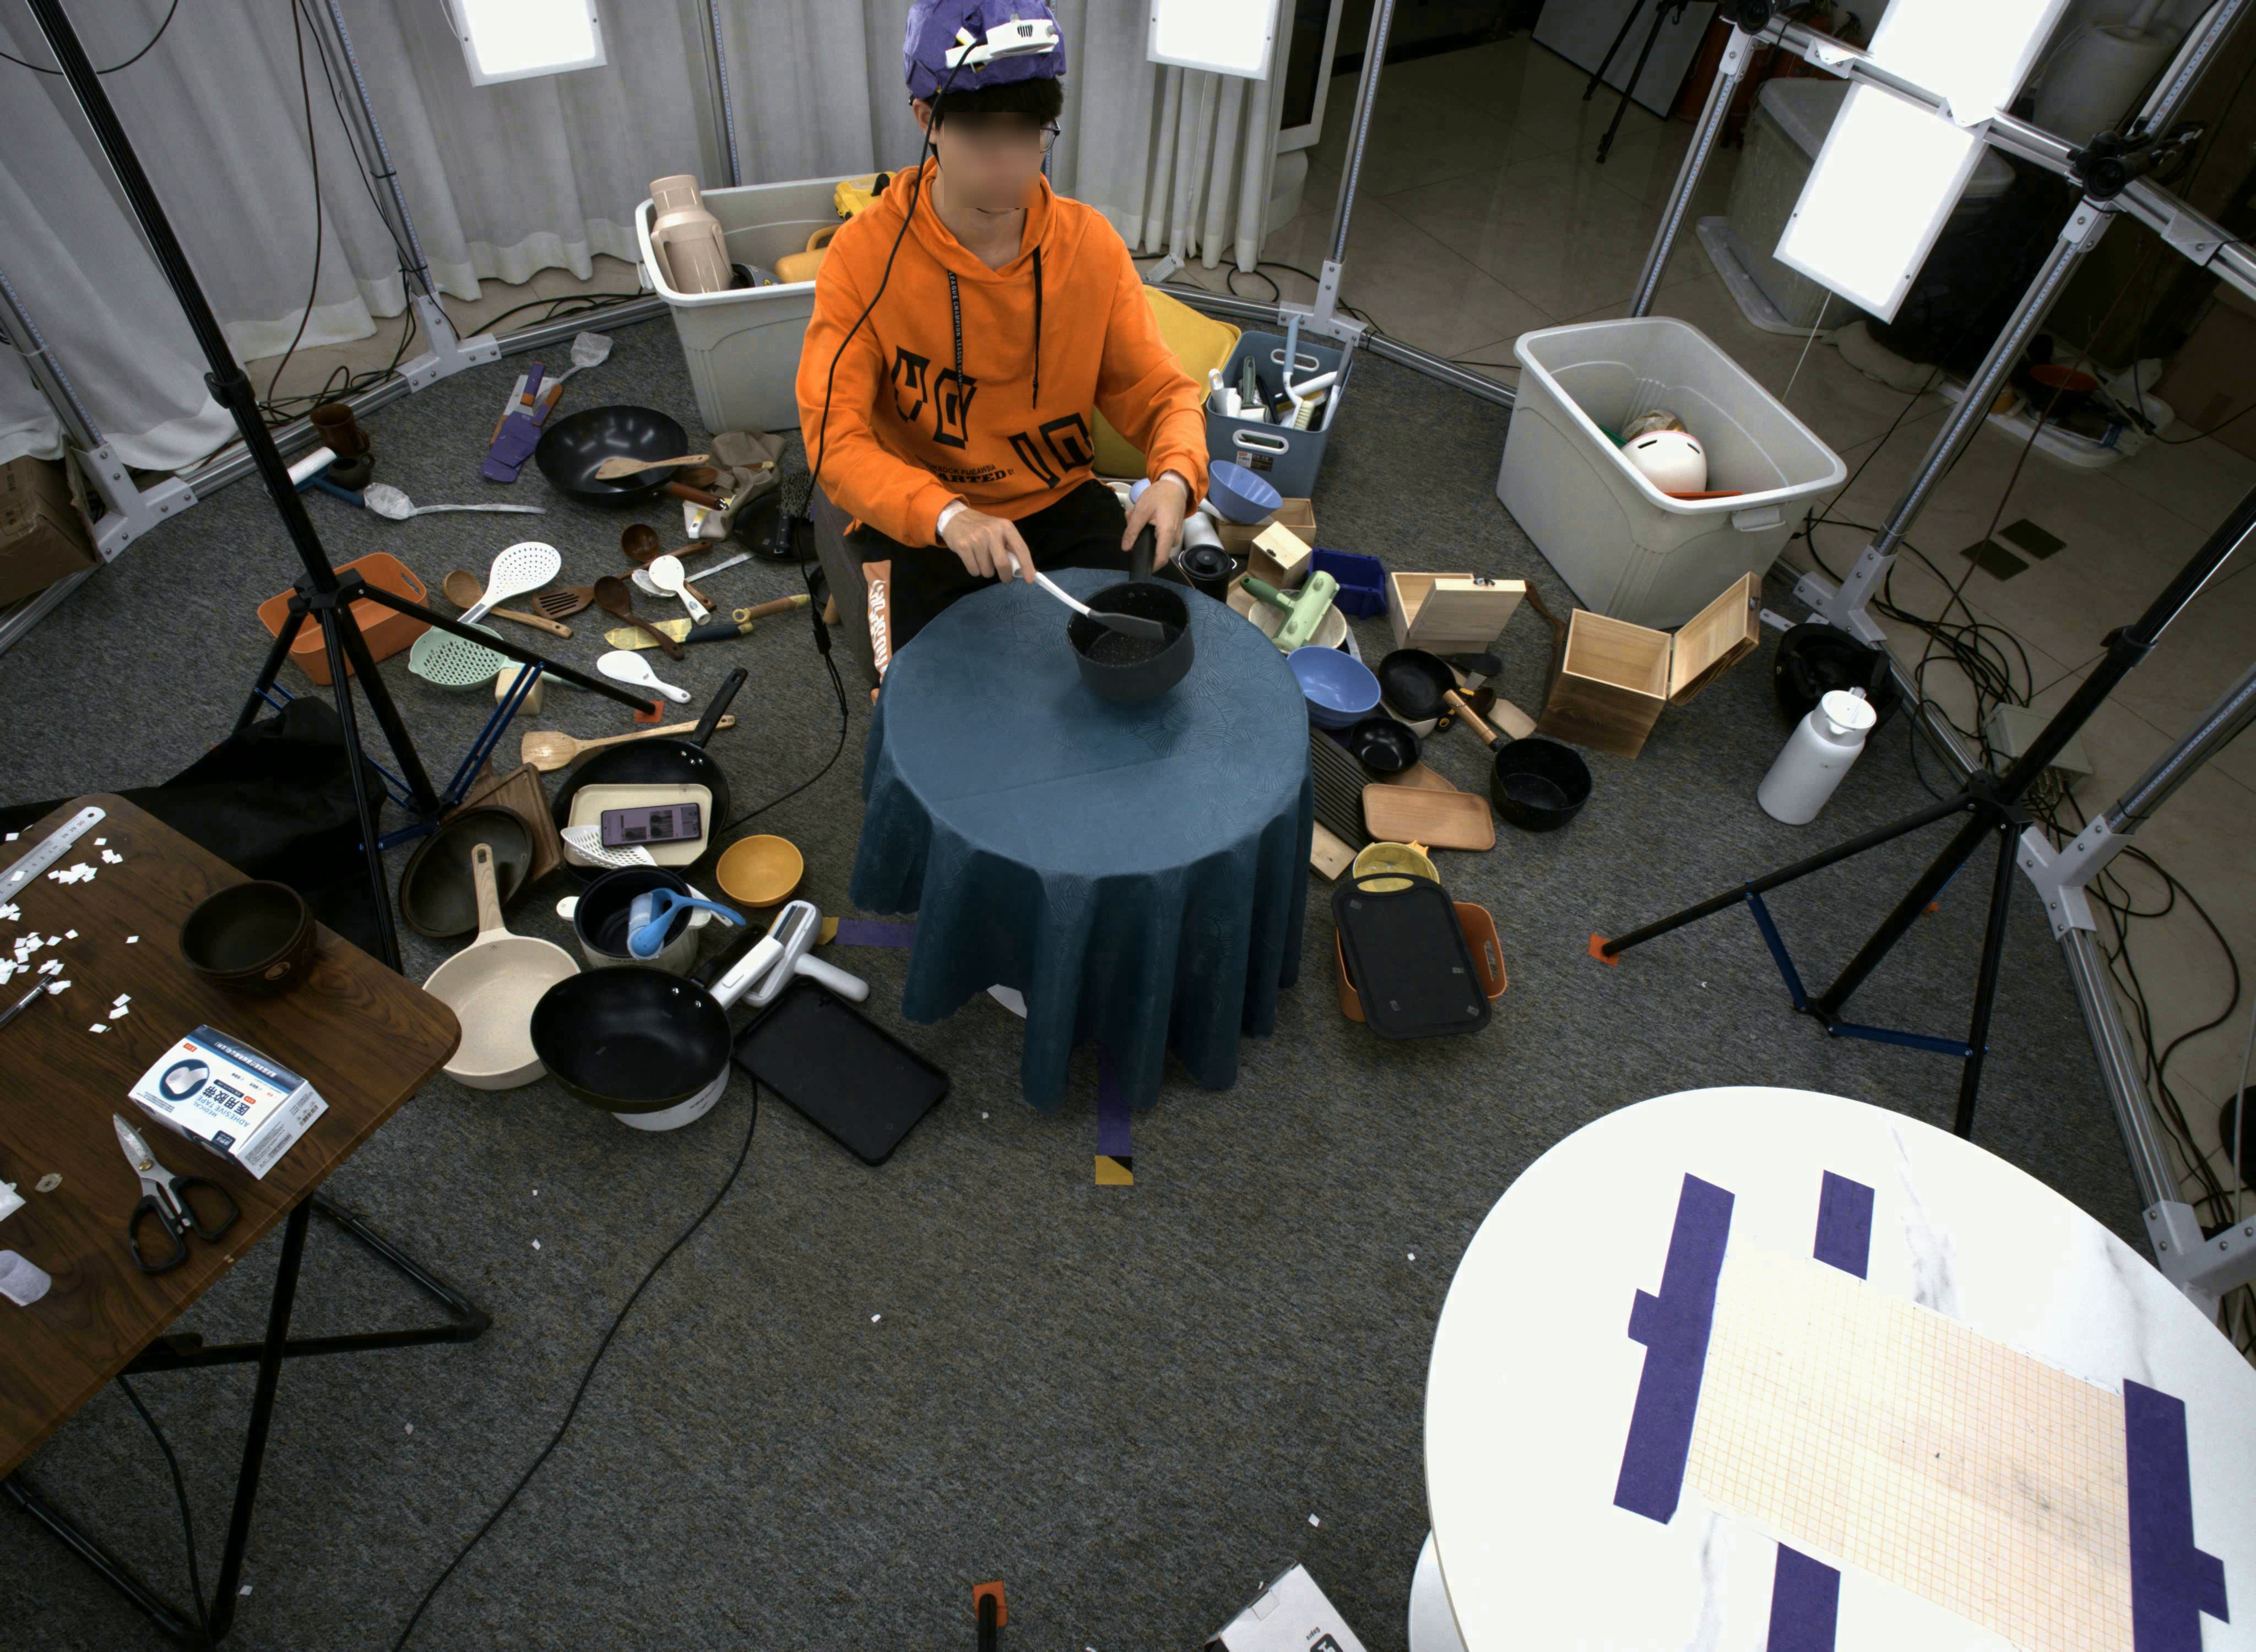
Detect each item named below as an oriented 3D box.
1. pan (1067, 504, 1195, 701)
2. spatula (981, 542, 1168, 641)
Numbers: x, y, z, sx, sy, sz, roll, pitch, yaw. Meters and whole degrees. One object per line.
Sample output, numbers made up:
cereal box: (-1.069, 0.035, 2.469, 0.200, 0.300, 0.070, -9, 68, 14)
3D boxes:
pan: (0.019, -0.319, 1.826, 0.172, 0.084, 0.336, 1, 52, 14)
spatula: (-0.074, -0.316, 1.754, 0.290, 0.057, 0.032, 28, 71, 16)
